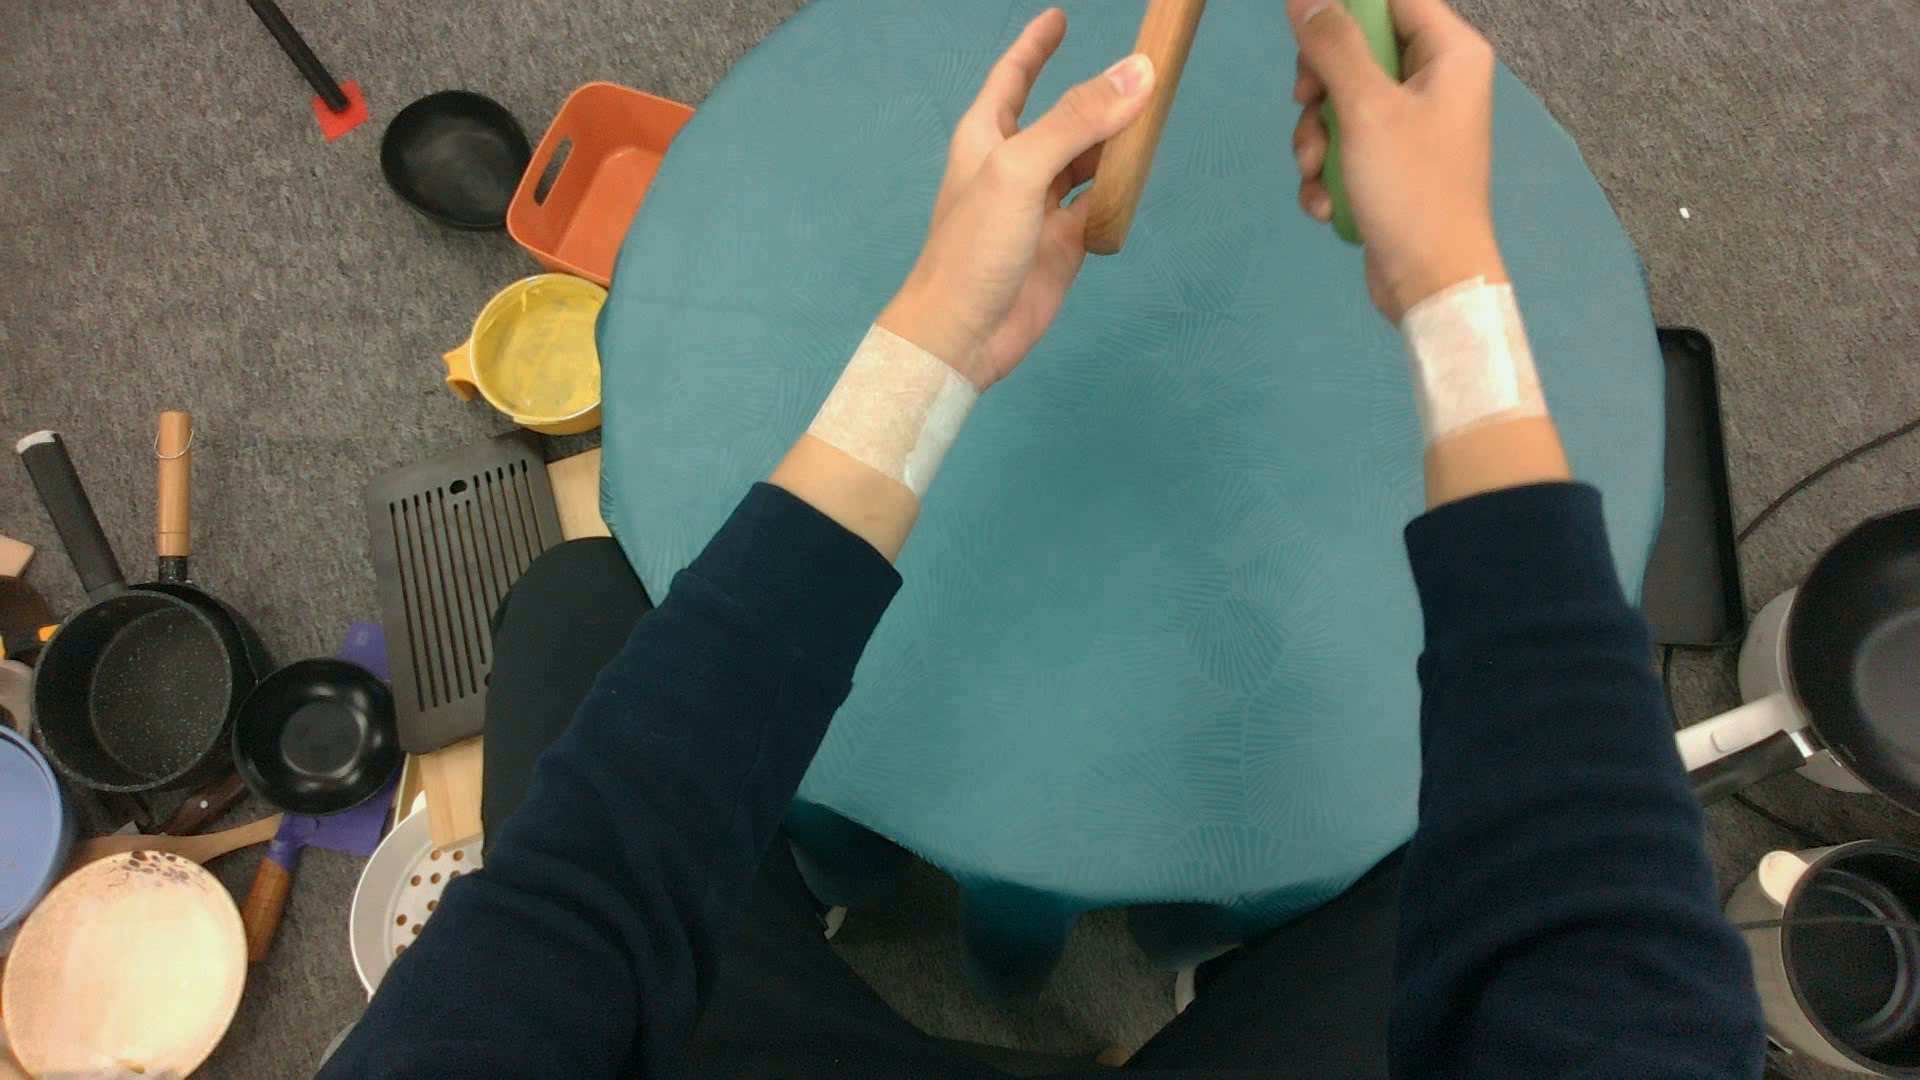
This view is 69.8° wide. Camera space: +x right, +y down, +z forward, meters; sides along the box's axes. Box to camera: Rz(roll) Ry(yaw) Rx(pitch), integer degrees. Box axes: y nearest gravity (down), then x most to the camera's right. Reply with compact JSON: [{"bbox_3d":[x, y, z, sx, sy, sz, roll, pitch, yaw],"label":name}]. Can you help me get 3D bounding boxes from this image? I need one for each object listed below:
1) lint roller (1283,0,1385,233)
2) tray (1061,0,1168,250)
[{"bbox_3d":[0.157,-0.222,0.552,0.082,0.199,0.183,-21,102,16],"label":"lint roller"},{"bbox_3d":[0.078,-0.231,0.557,0.020,0.102,0.231,15,99,7],"label":"tray"}]
